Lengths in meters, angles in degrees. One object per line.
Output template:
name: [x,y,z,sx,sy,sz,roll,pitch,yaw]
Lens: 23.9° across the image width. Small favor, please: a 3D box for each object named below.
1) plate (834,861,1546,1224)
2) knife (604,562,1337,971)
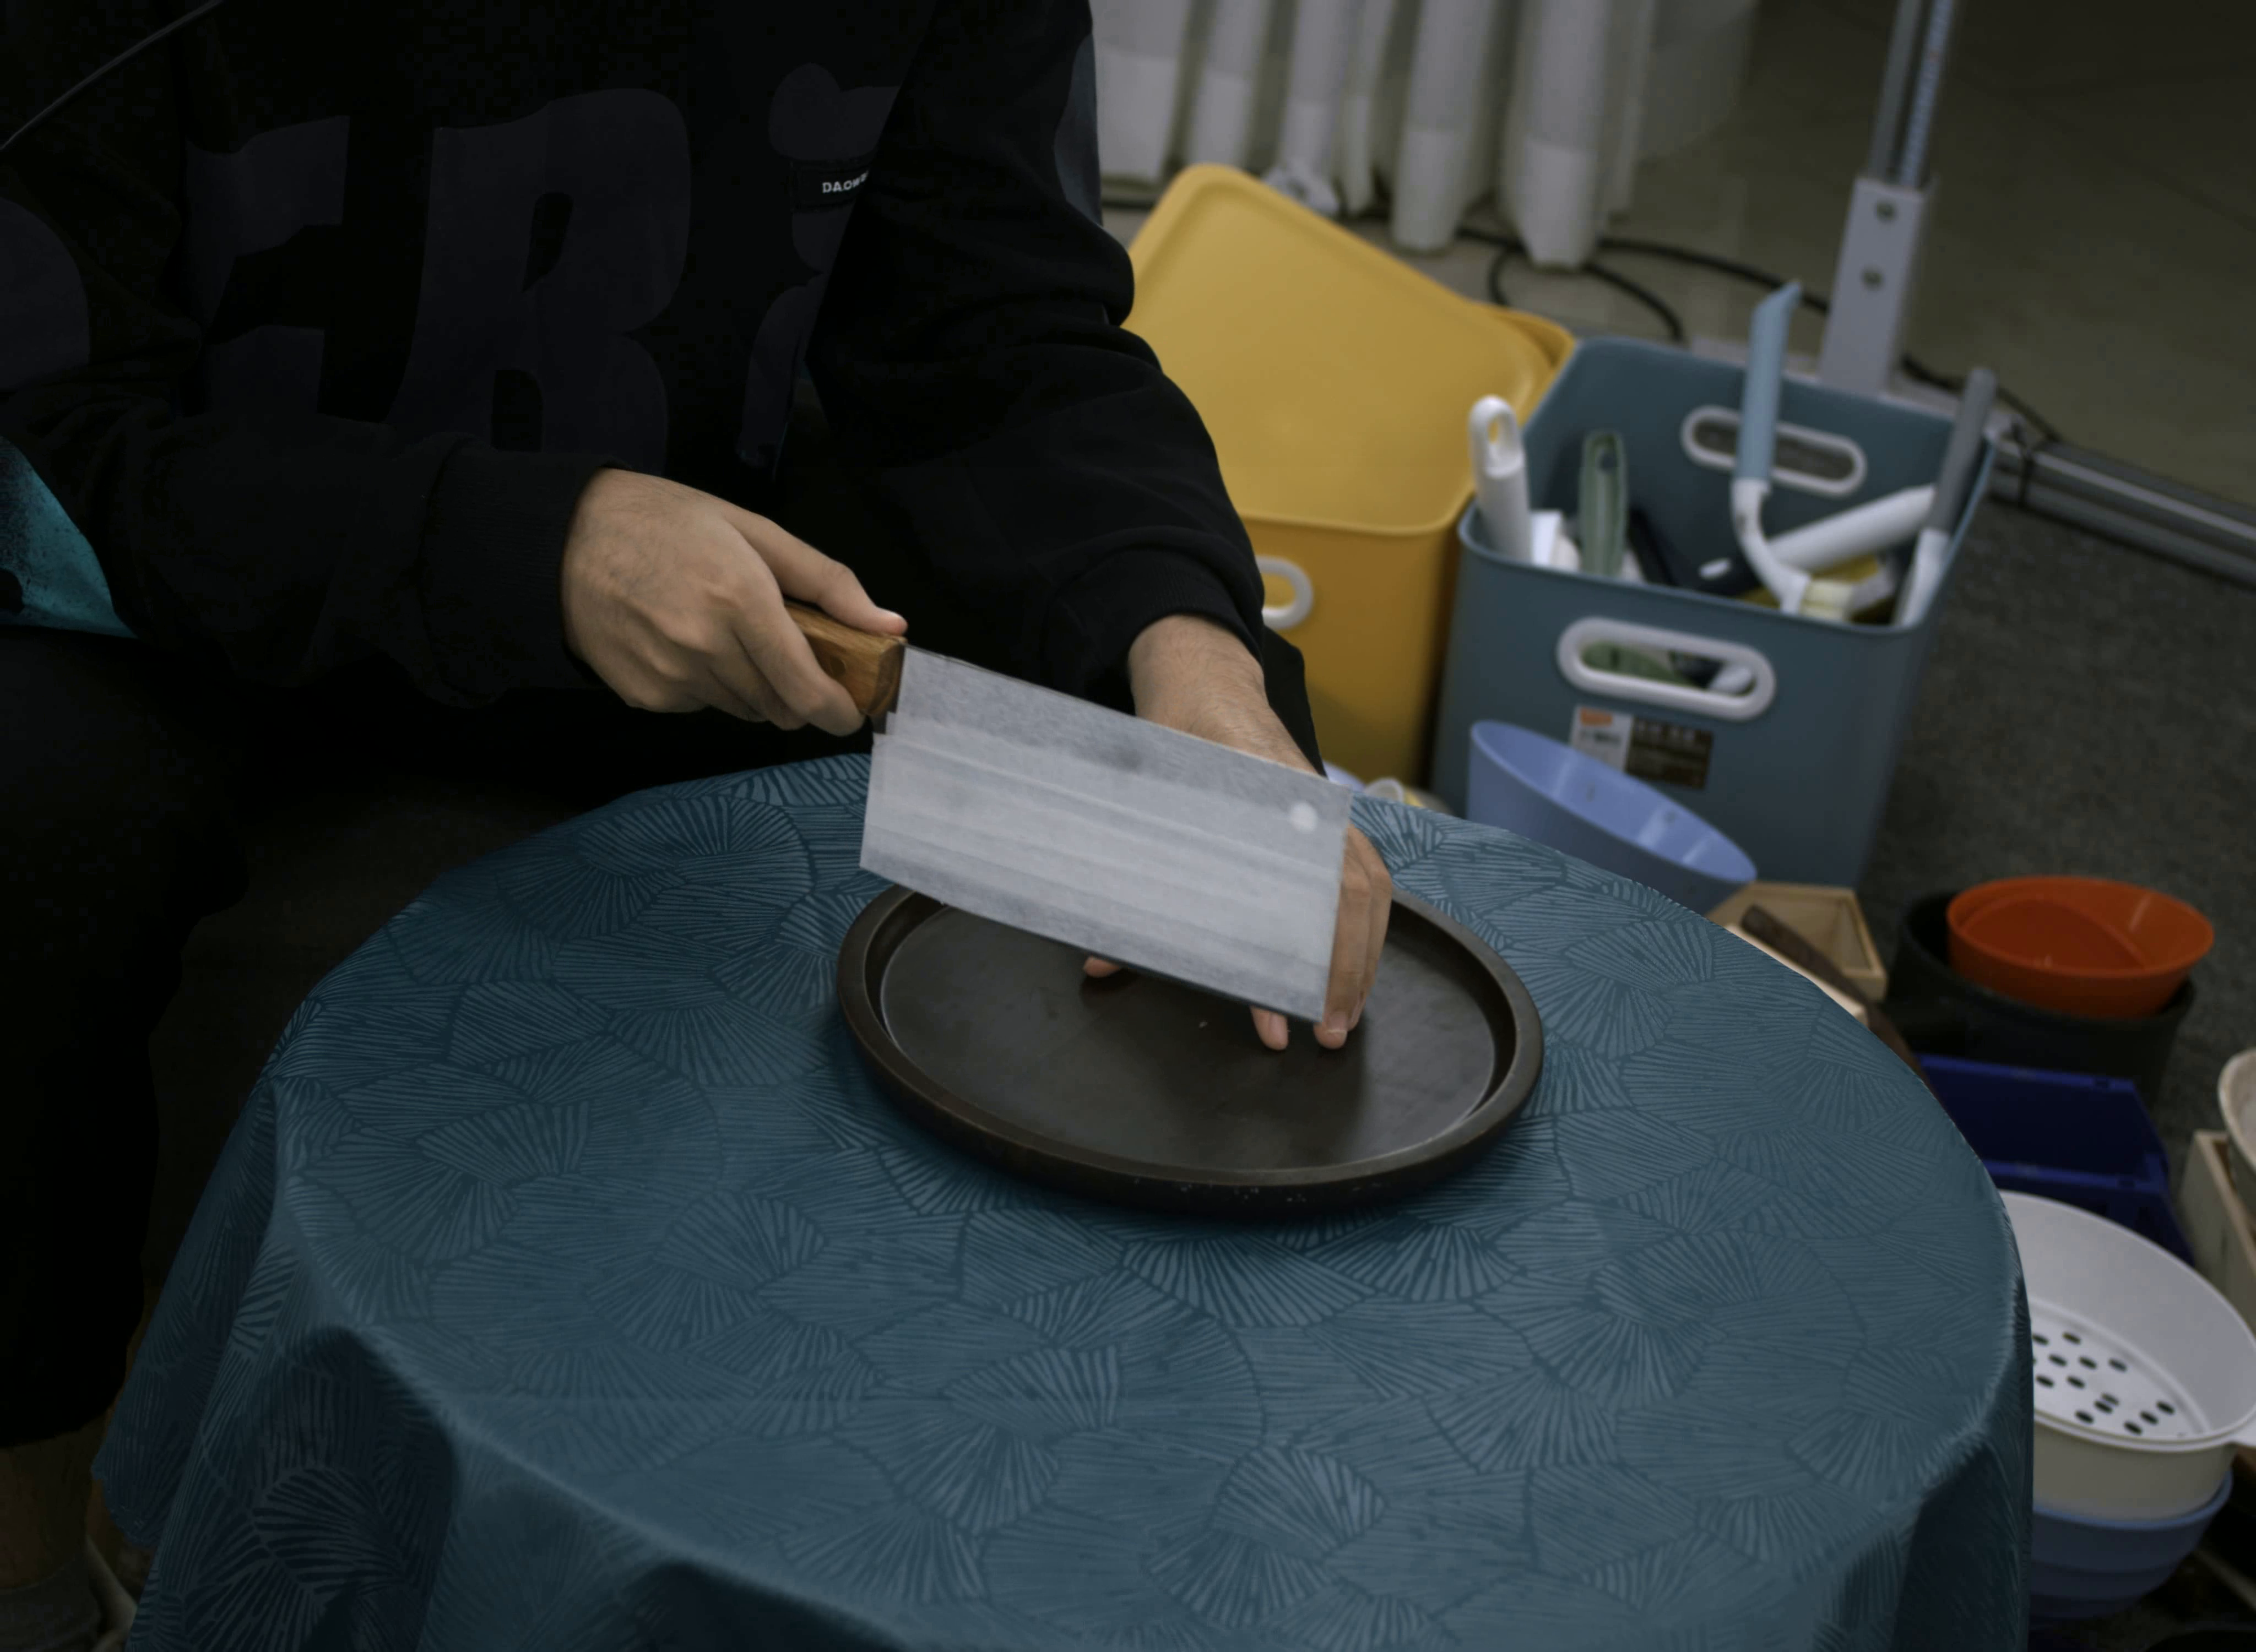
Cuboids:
plate: [0.021,0.069,1.886,0.254,0.029,0.256,5,29,-3]
knife: [-0.060,-0.019,1.860,0.307,0.092,0.021,18,25,28]
